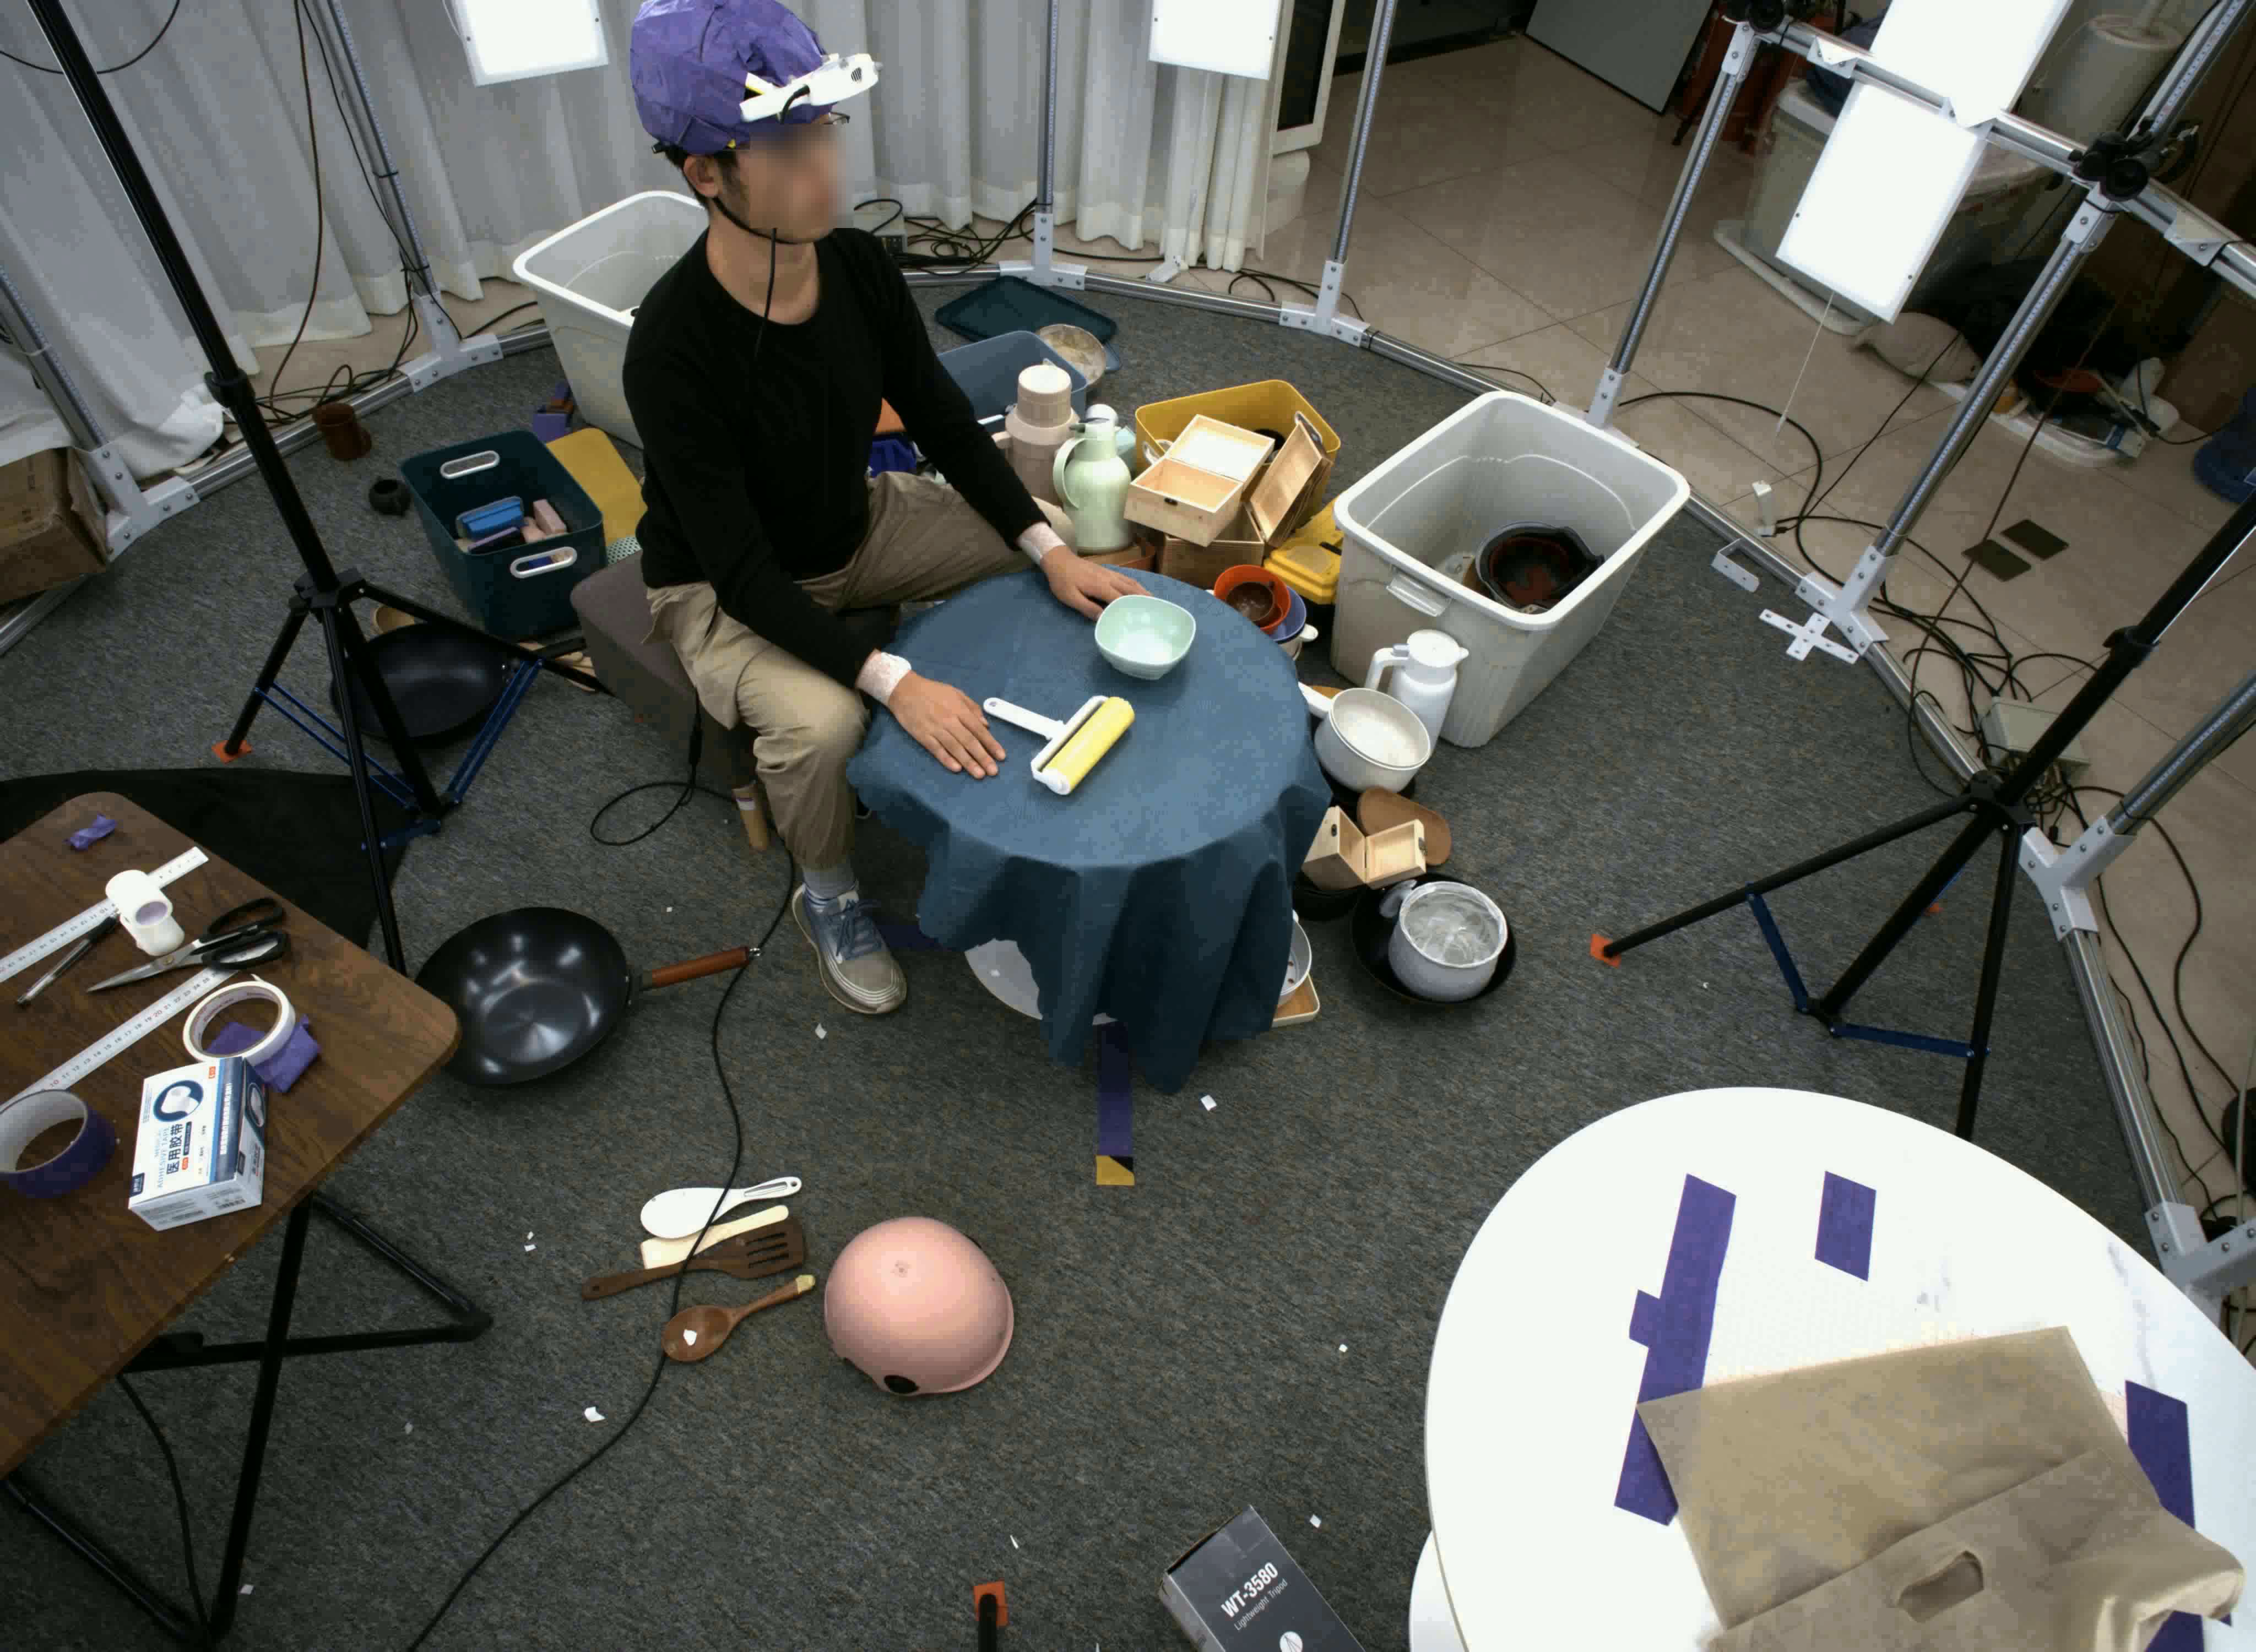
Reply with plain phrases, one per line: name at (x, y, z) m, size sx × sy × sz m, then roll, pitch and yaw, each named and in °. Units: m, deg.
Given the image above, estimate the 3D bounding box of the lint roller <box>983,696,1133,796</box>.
lint roller at (-0.115, -0.140, 1.750) m, size 0.193 × 0.050 × 0.177 m, roll 28°, pitch 53°, yaw 14°

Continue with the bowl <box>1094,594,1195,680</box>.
bowl at (0.023, -0.266, 1.865) m, size 0.151 × 0.057 × 0.155 m, roll 3°, pitch 50°, yaw -3°
